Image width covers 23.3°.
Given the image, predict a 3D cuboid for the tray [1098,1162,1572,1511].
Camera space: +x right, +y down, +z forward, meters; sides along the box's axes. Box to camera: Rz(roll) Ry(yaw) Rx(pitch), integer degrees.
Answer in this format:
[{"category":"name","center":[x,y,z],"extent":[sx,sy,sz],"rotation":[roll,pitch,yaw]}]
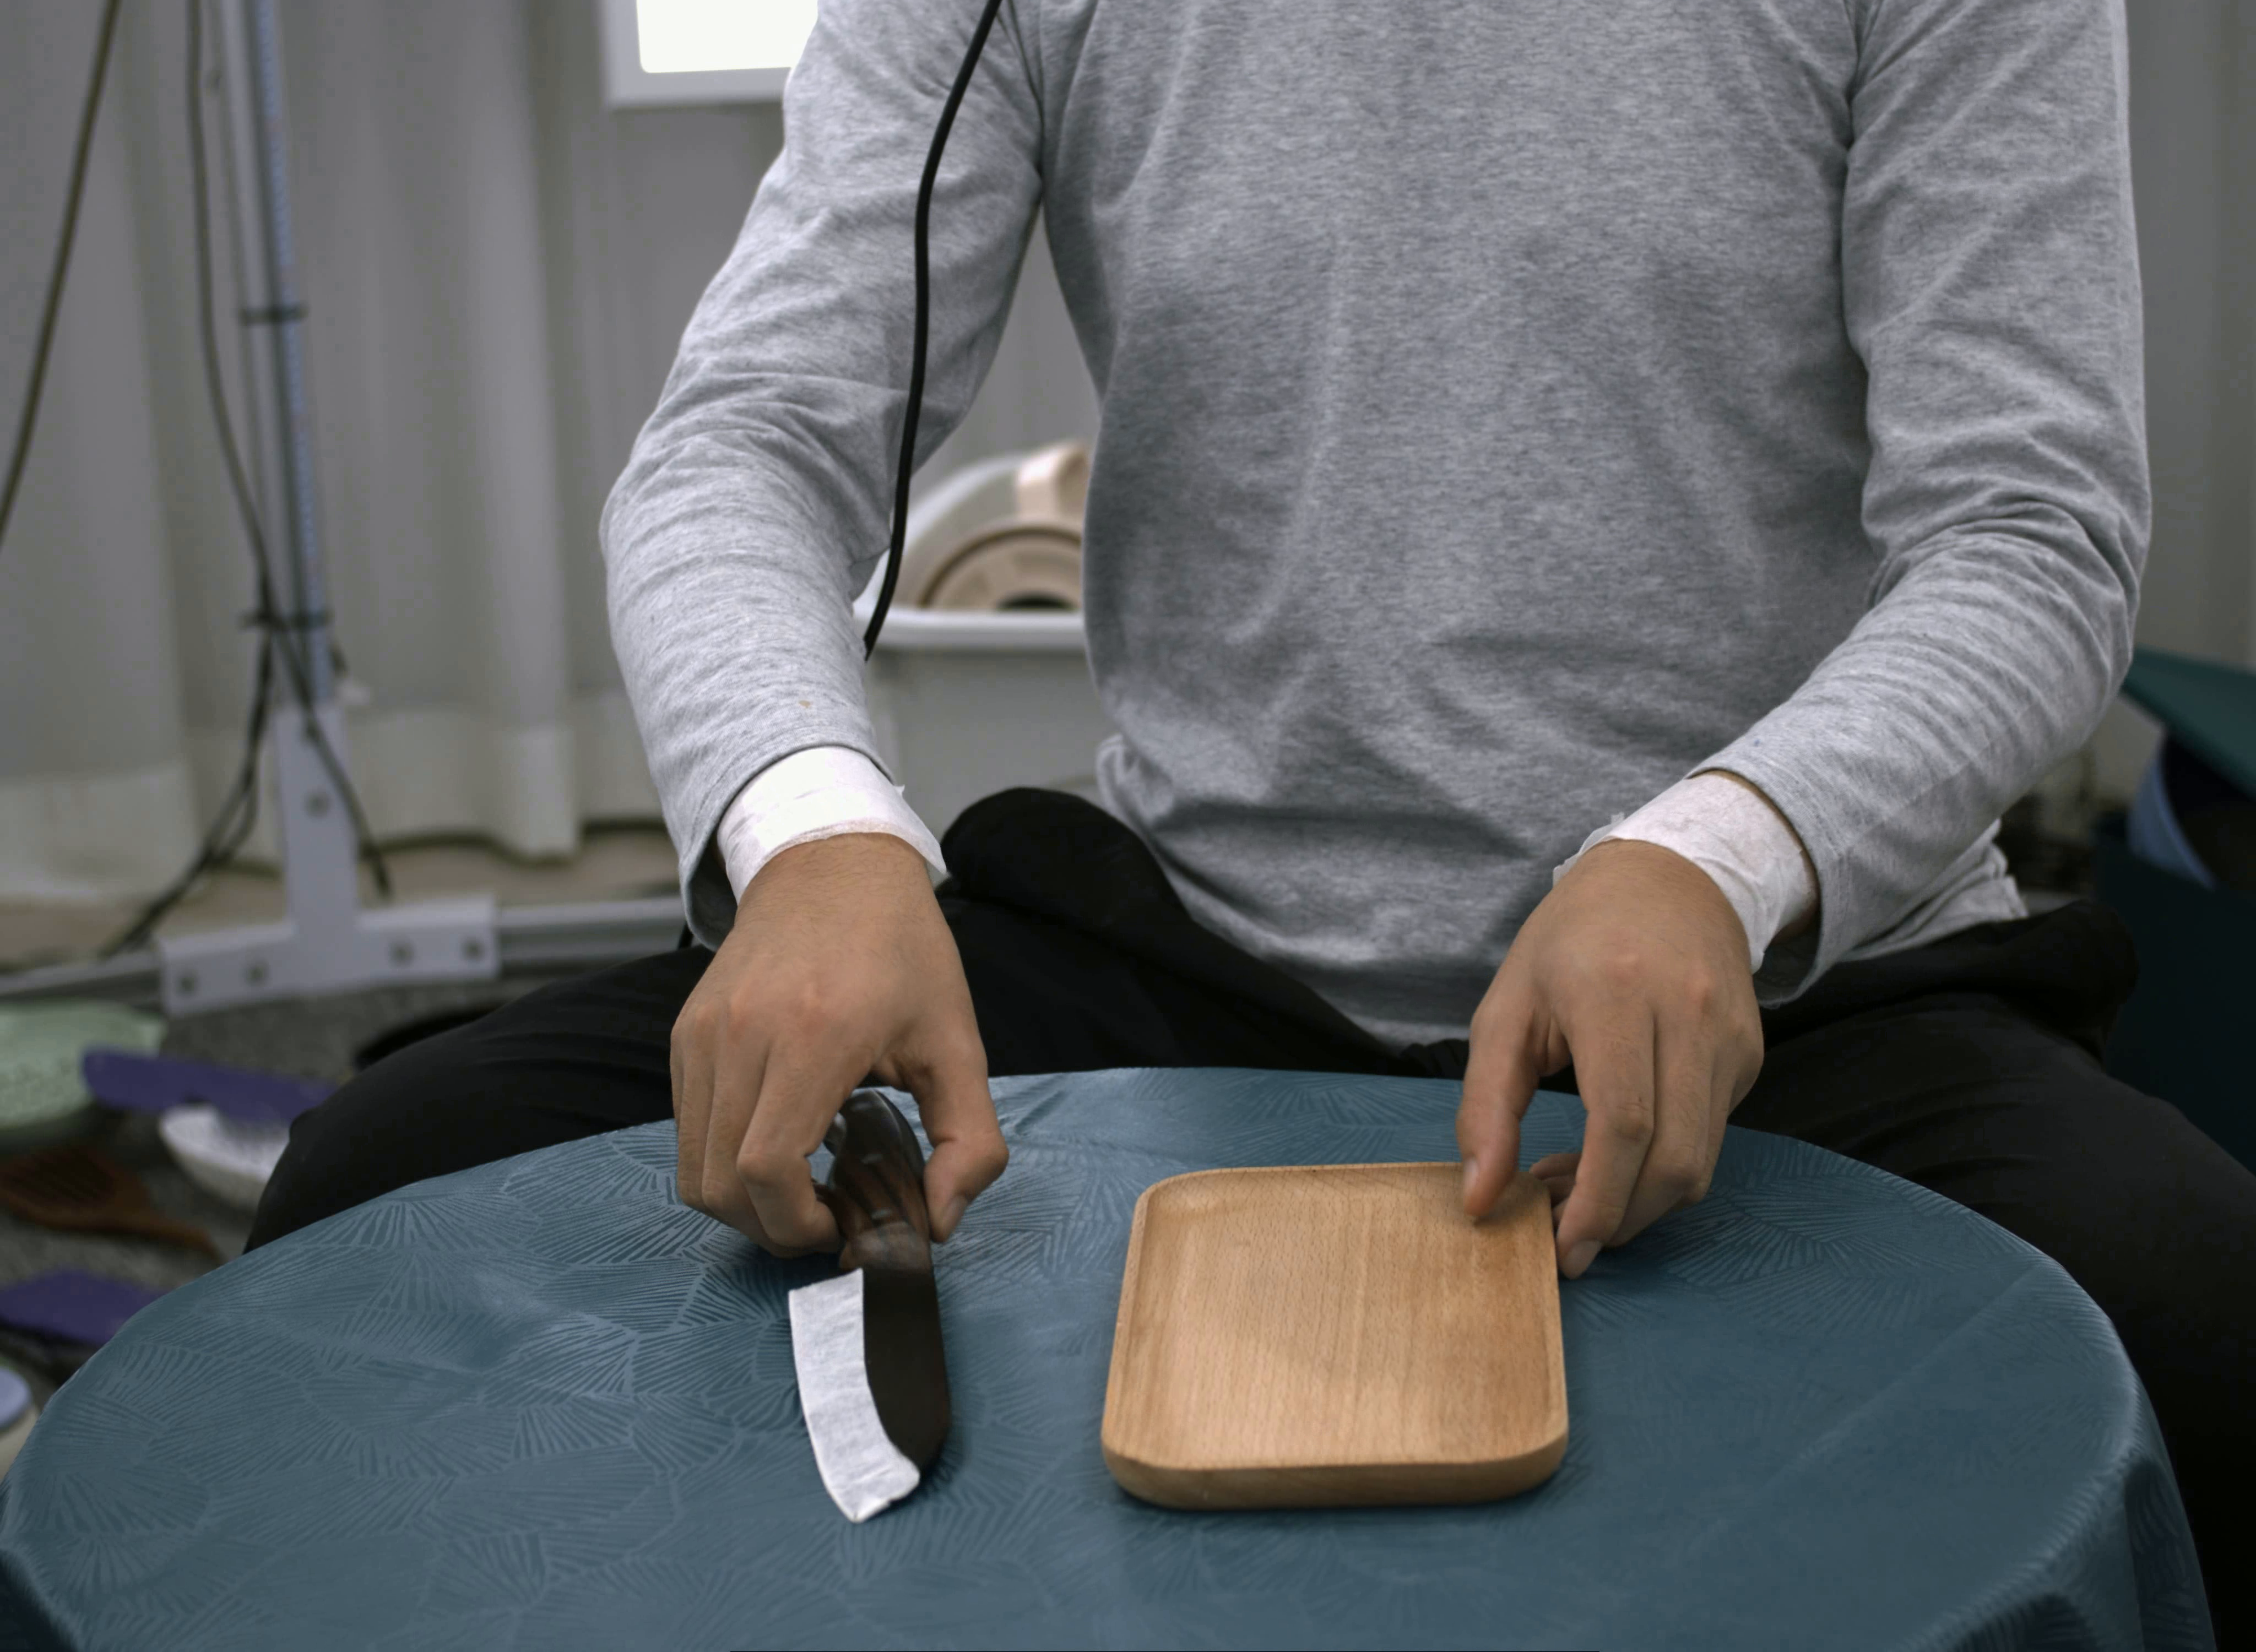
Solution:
[{"category":"tray","center":[0.061,0.143,1.567],"extent":[0.130,0.023,0.252],"rotation":[0,14,4]}]

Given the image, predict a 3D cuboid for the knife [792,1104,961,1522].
[{"category":"knife","center":[-0.074,0.141,1.596],"extent":[0.050,0.020,0.291],"rotation":[-15,18,2]}]
